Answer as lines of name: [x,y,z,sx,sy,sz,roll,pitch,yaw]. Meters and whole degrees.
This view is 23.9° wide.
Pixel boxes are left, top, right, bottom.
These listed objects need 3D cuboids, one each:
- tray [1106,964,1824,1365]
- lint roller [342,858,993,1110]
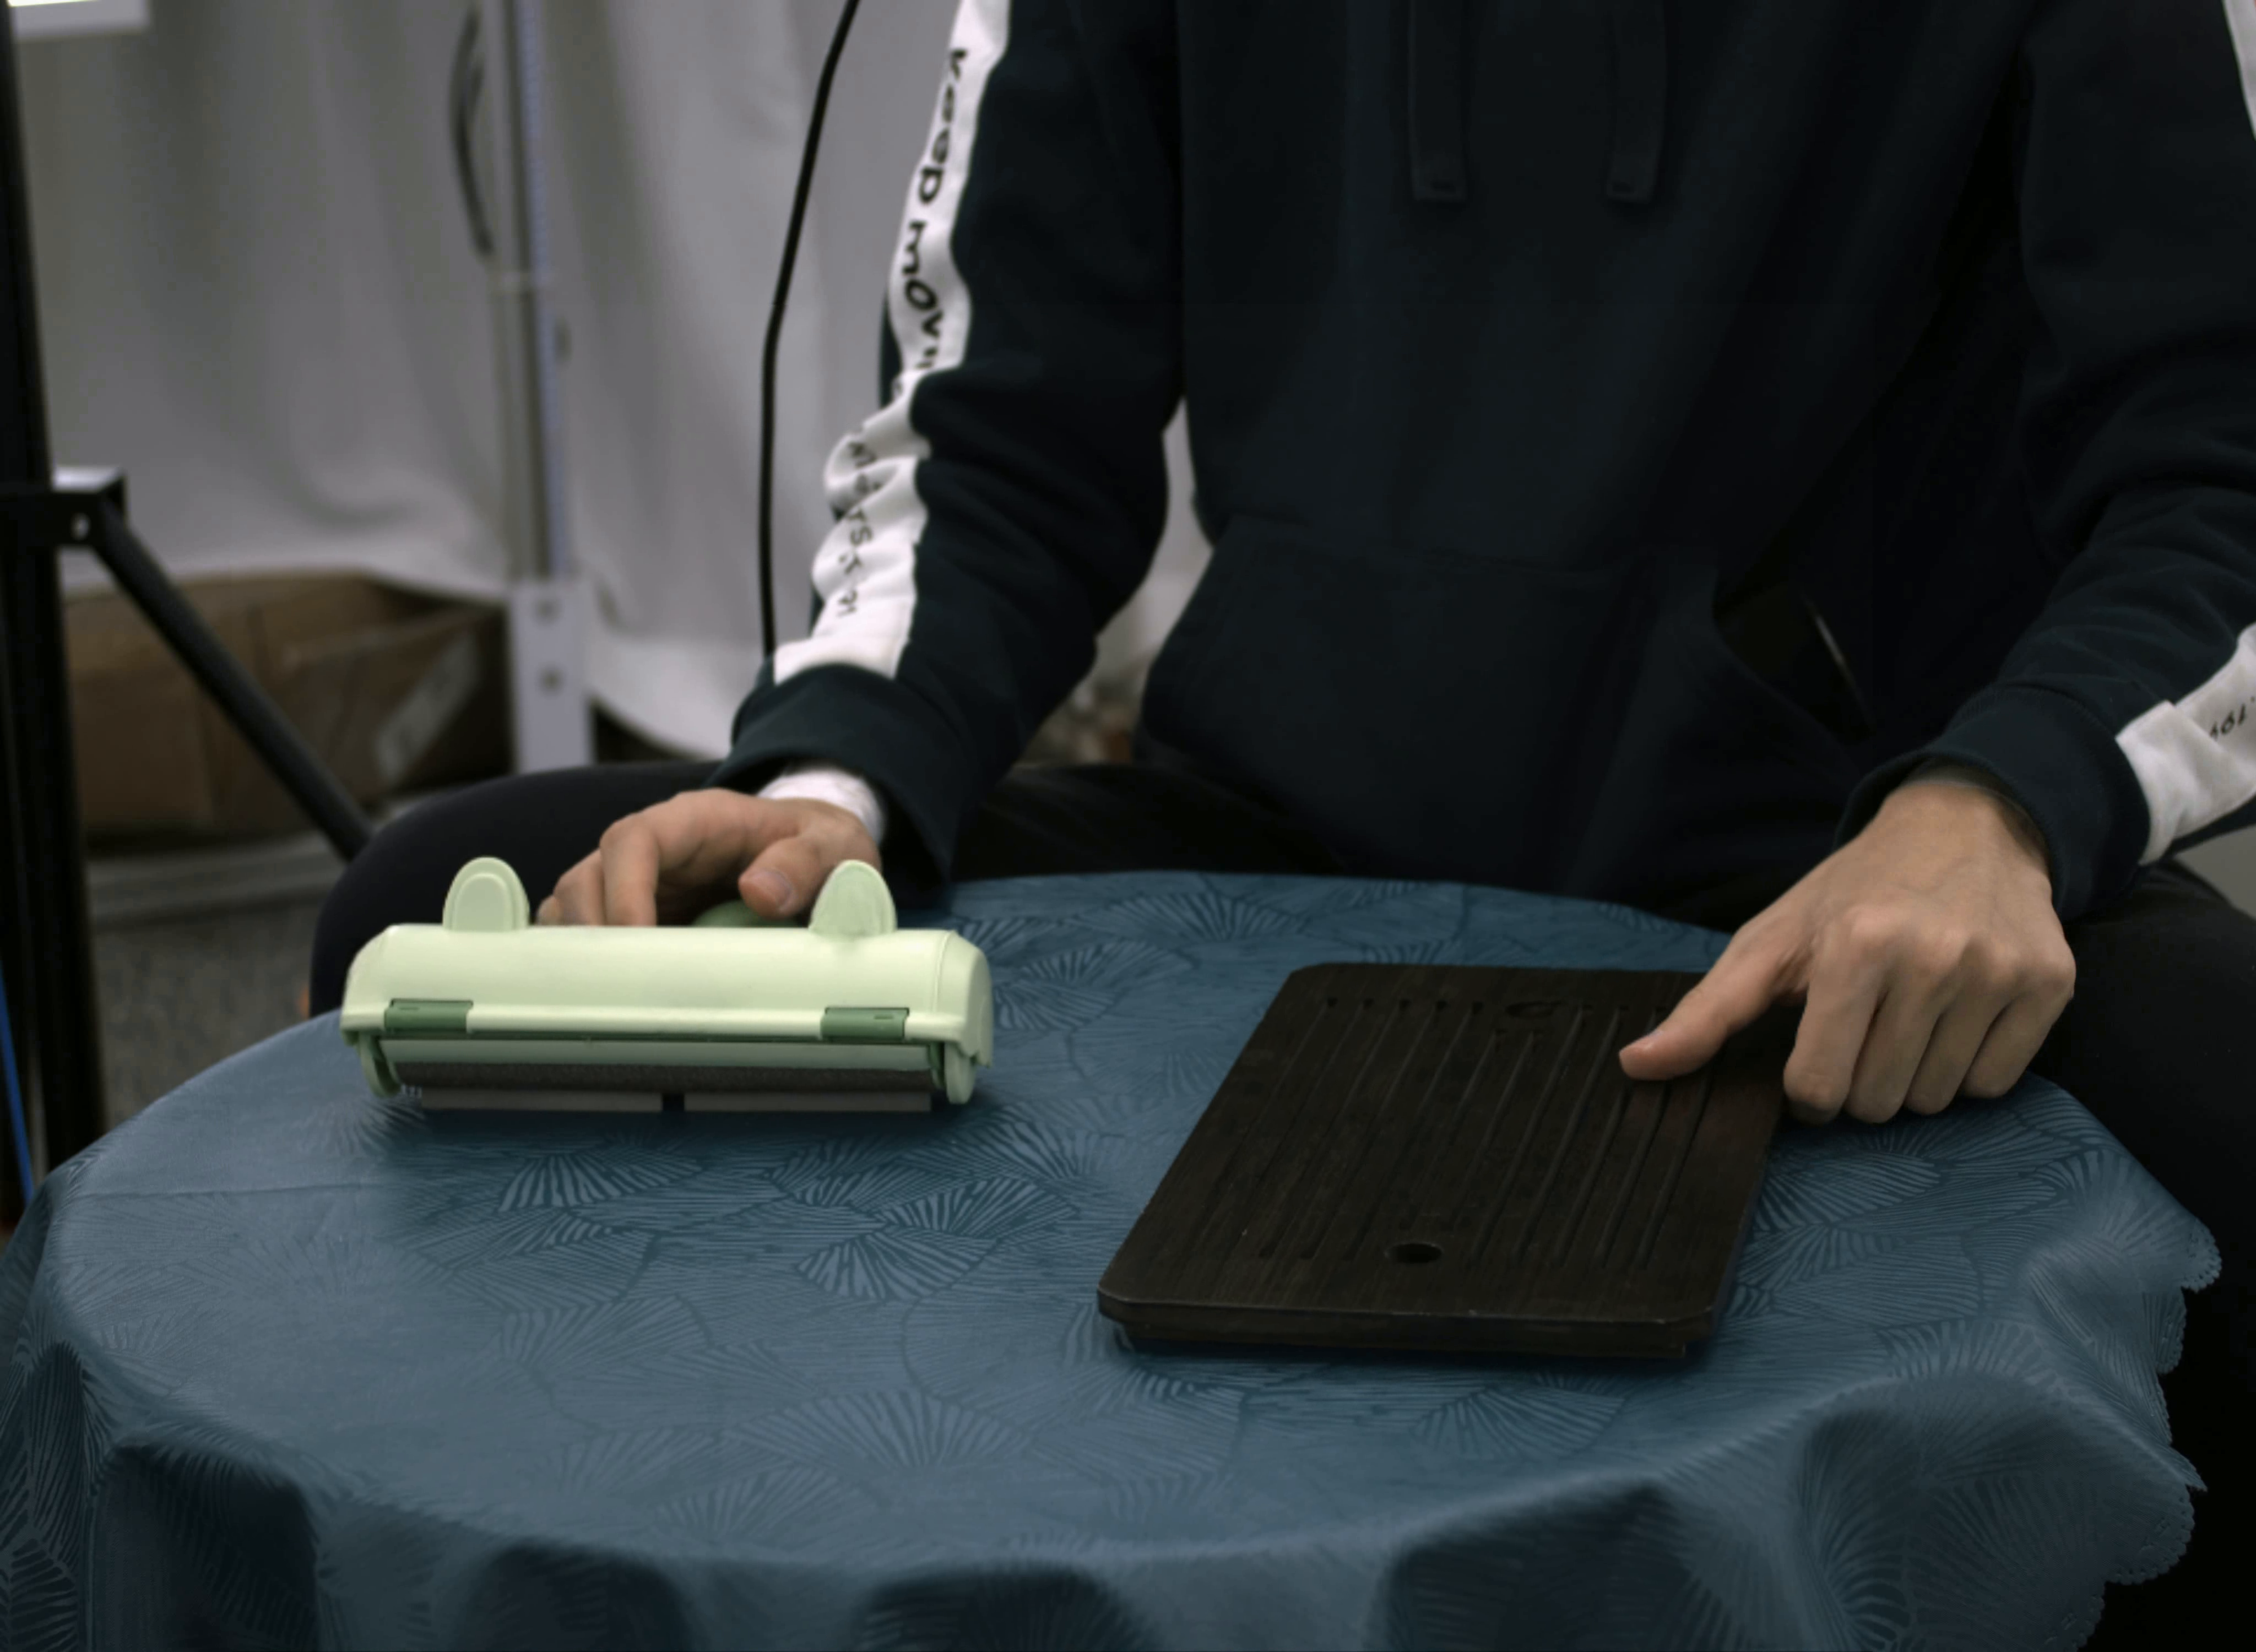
tray: [0.107,0.096,1.548,0.171,0.018,0.304,1,16,13]
lint roller: [-0.133,0.034,1.696,0.199,0.082,0.183,0,19,10]
